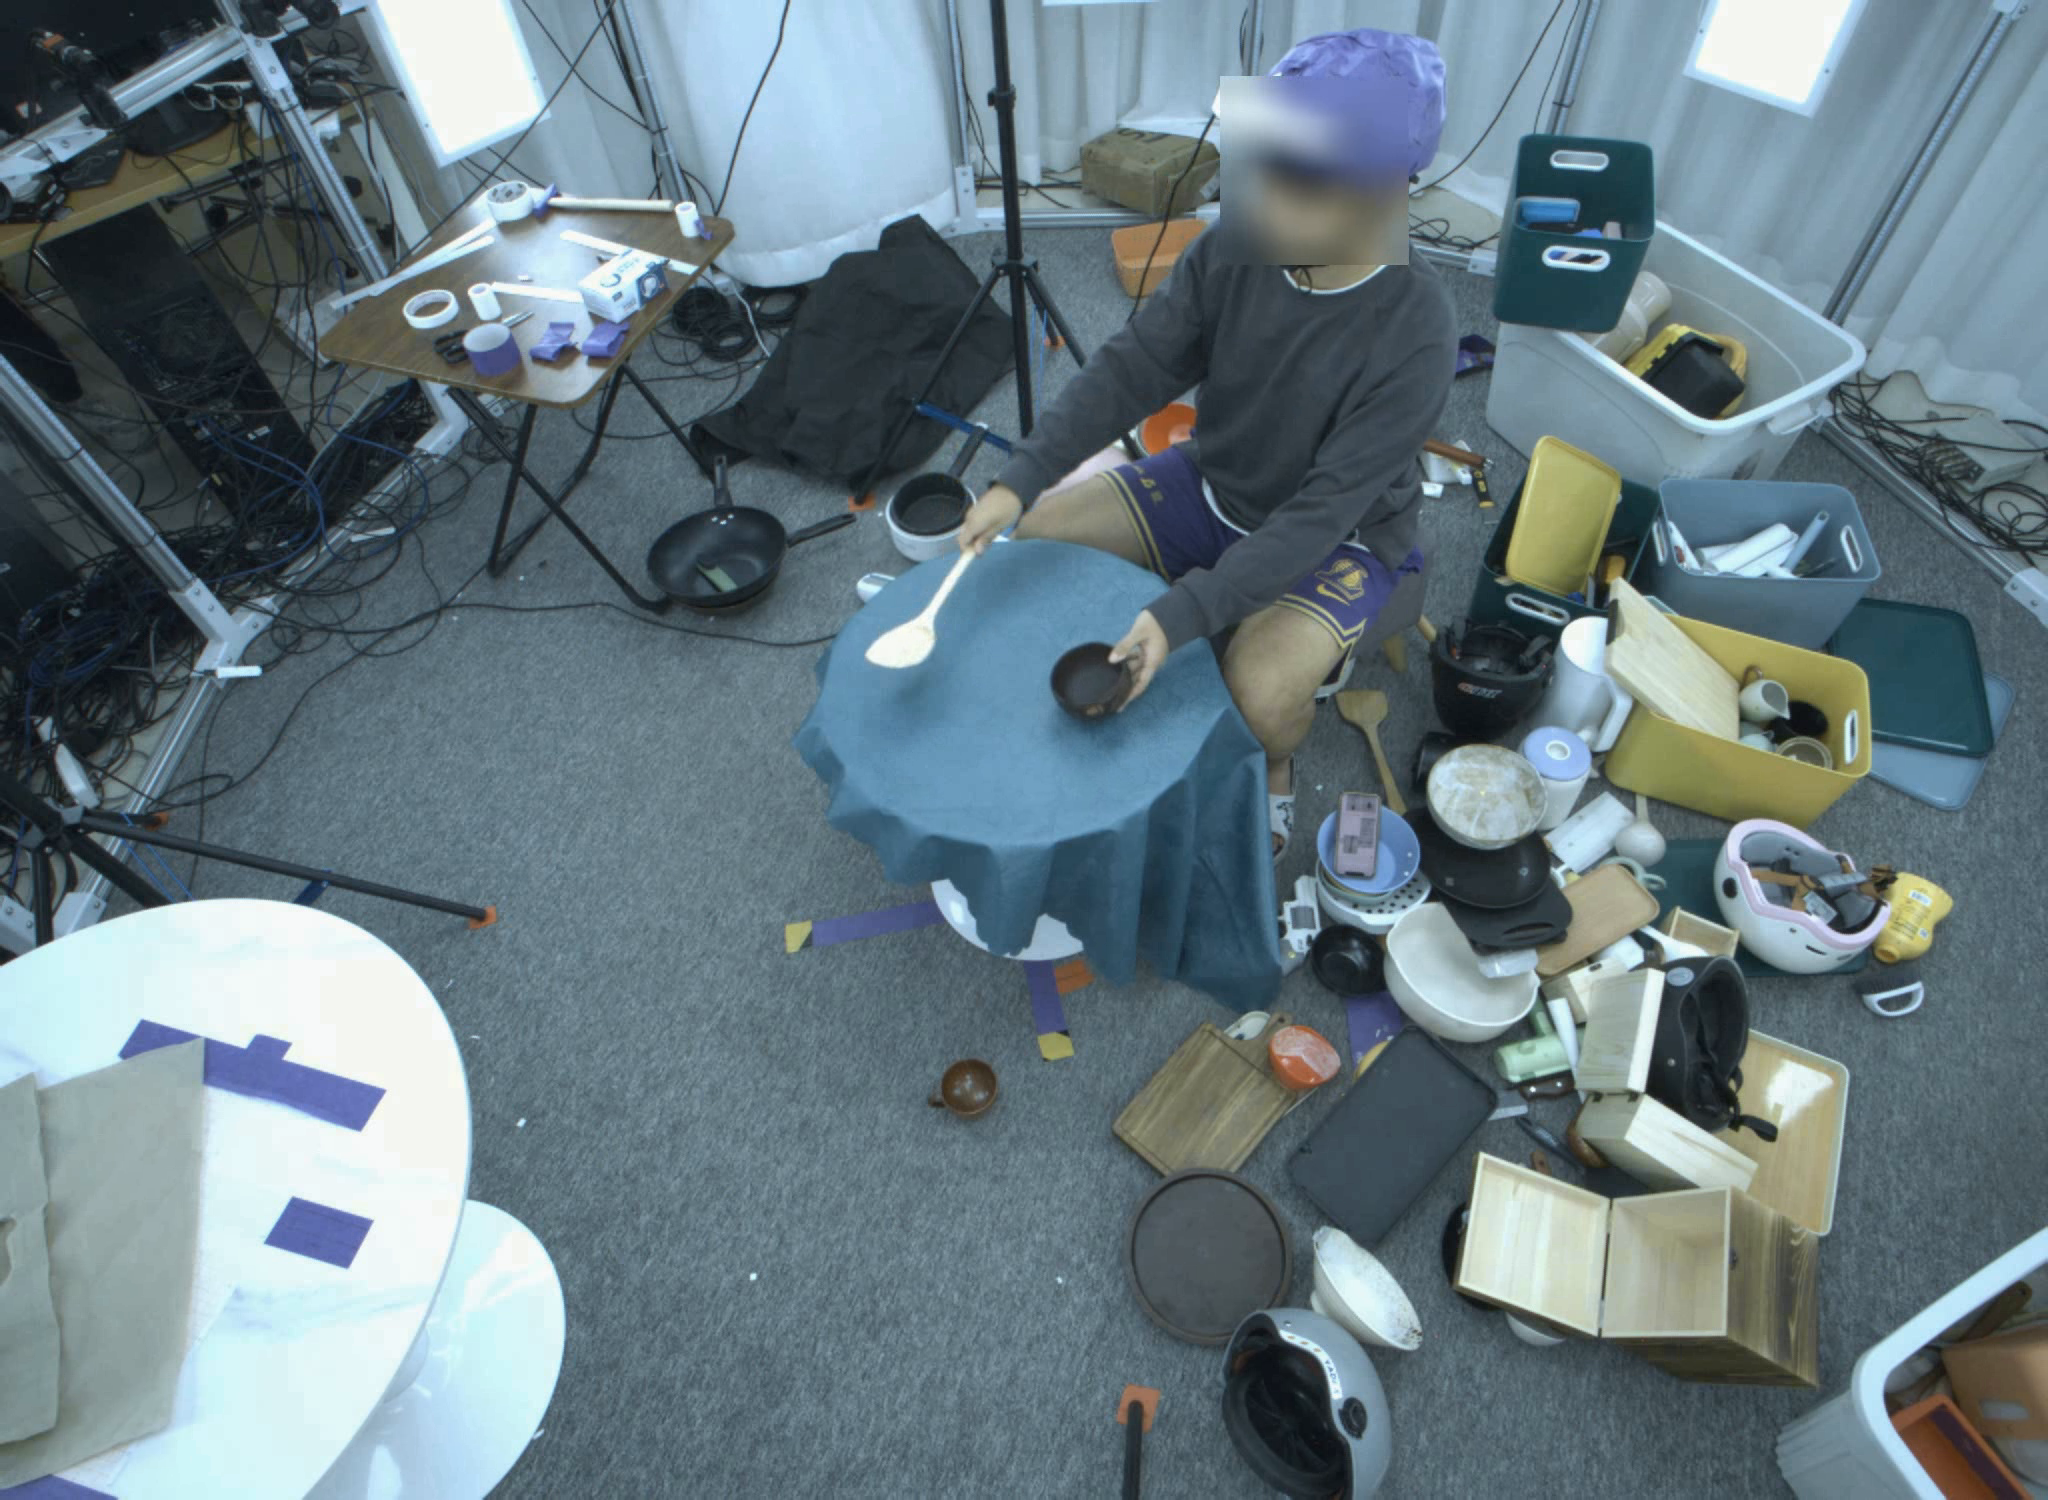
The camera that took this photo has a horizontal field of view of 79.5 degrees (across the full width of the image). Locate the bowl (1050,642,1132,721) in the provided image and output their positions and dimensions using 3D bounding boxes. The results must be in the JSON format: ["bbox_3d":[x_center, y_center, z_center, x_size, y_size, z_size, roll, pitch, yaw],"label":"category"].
[{"bbox_3d":[0.102,-0.092,1.795,0.117,0.071,0.117,-9,54,14],"label":"bowl"}]

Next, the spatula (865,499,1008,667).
[{"bbox_3d":[-0.117,-0.262,1.864,0.094,0.019,0.391,14,55,21],"label":"spatula"}]
